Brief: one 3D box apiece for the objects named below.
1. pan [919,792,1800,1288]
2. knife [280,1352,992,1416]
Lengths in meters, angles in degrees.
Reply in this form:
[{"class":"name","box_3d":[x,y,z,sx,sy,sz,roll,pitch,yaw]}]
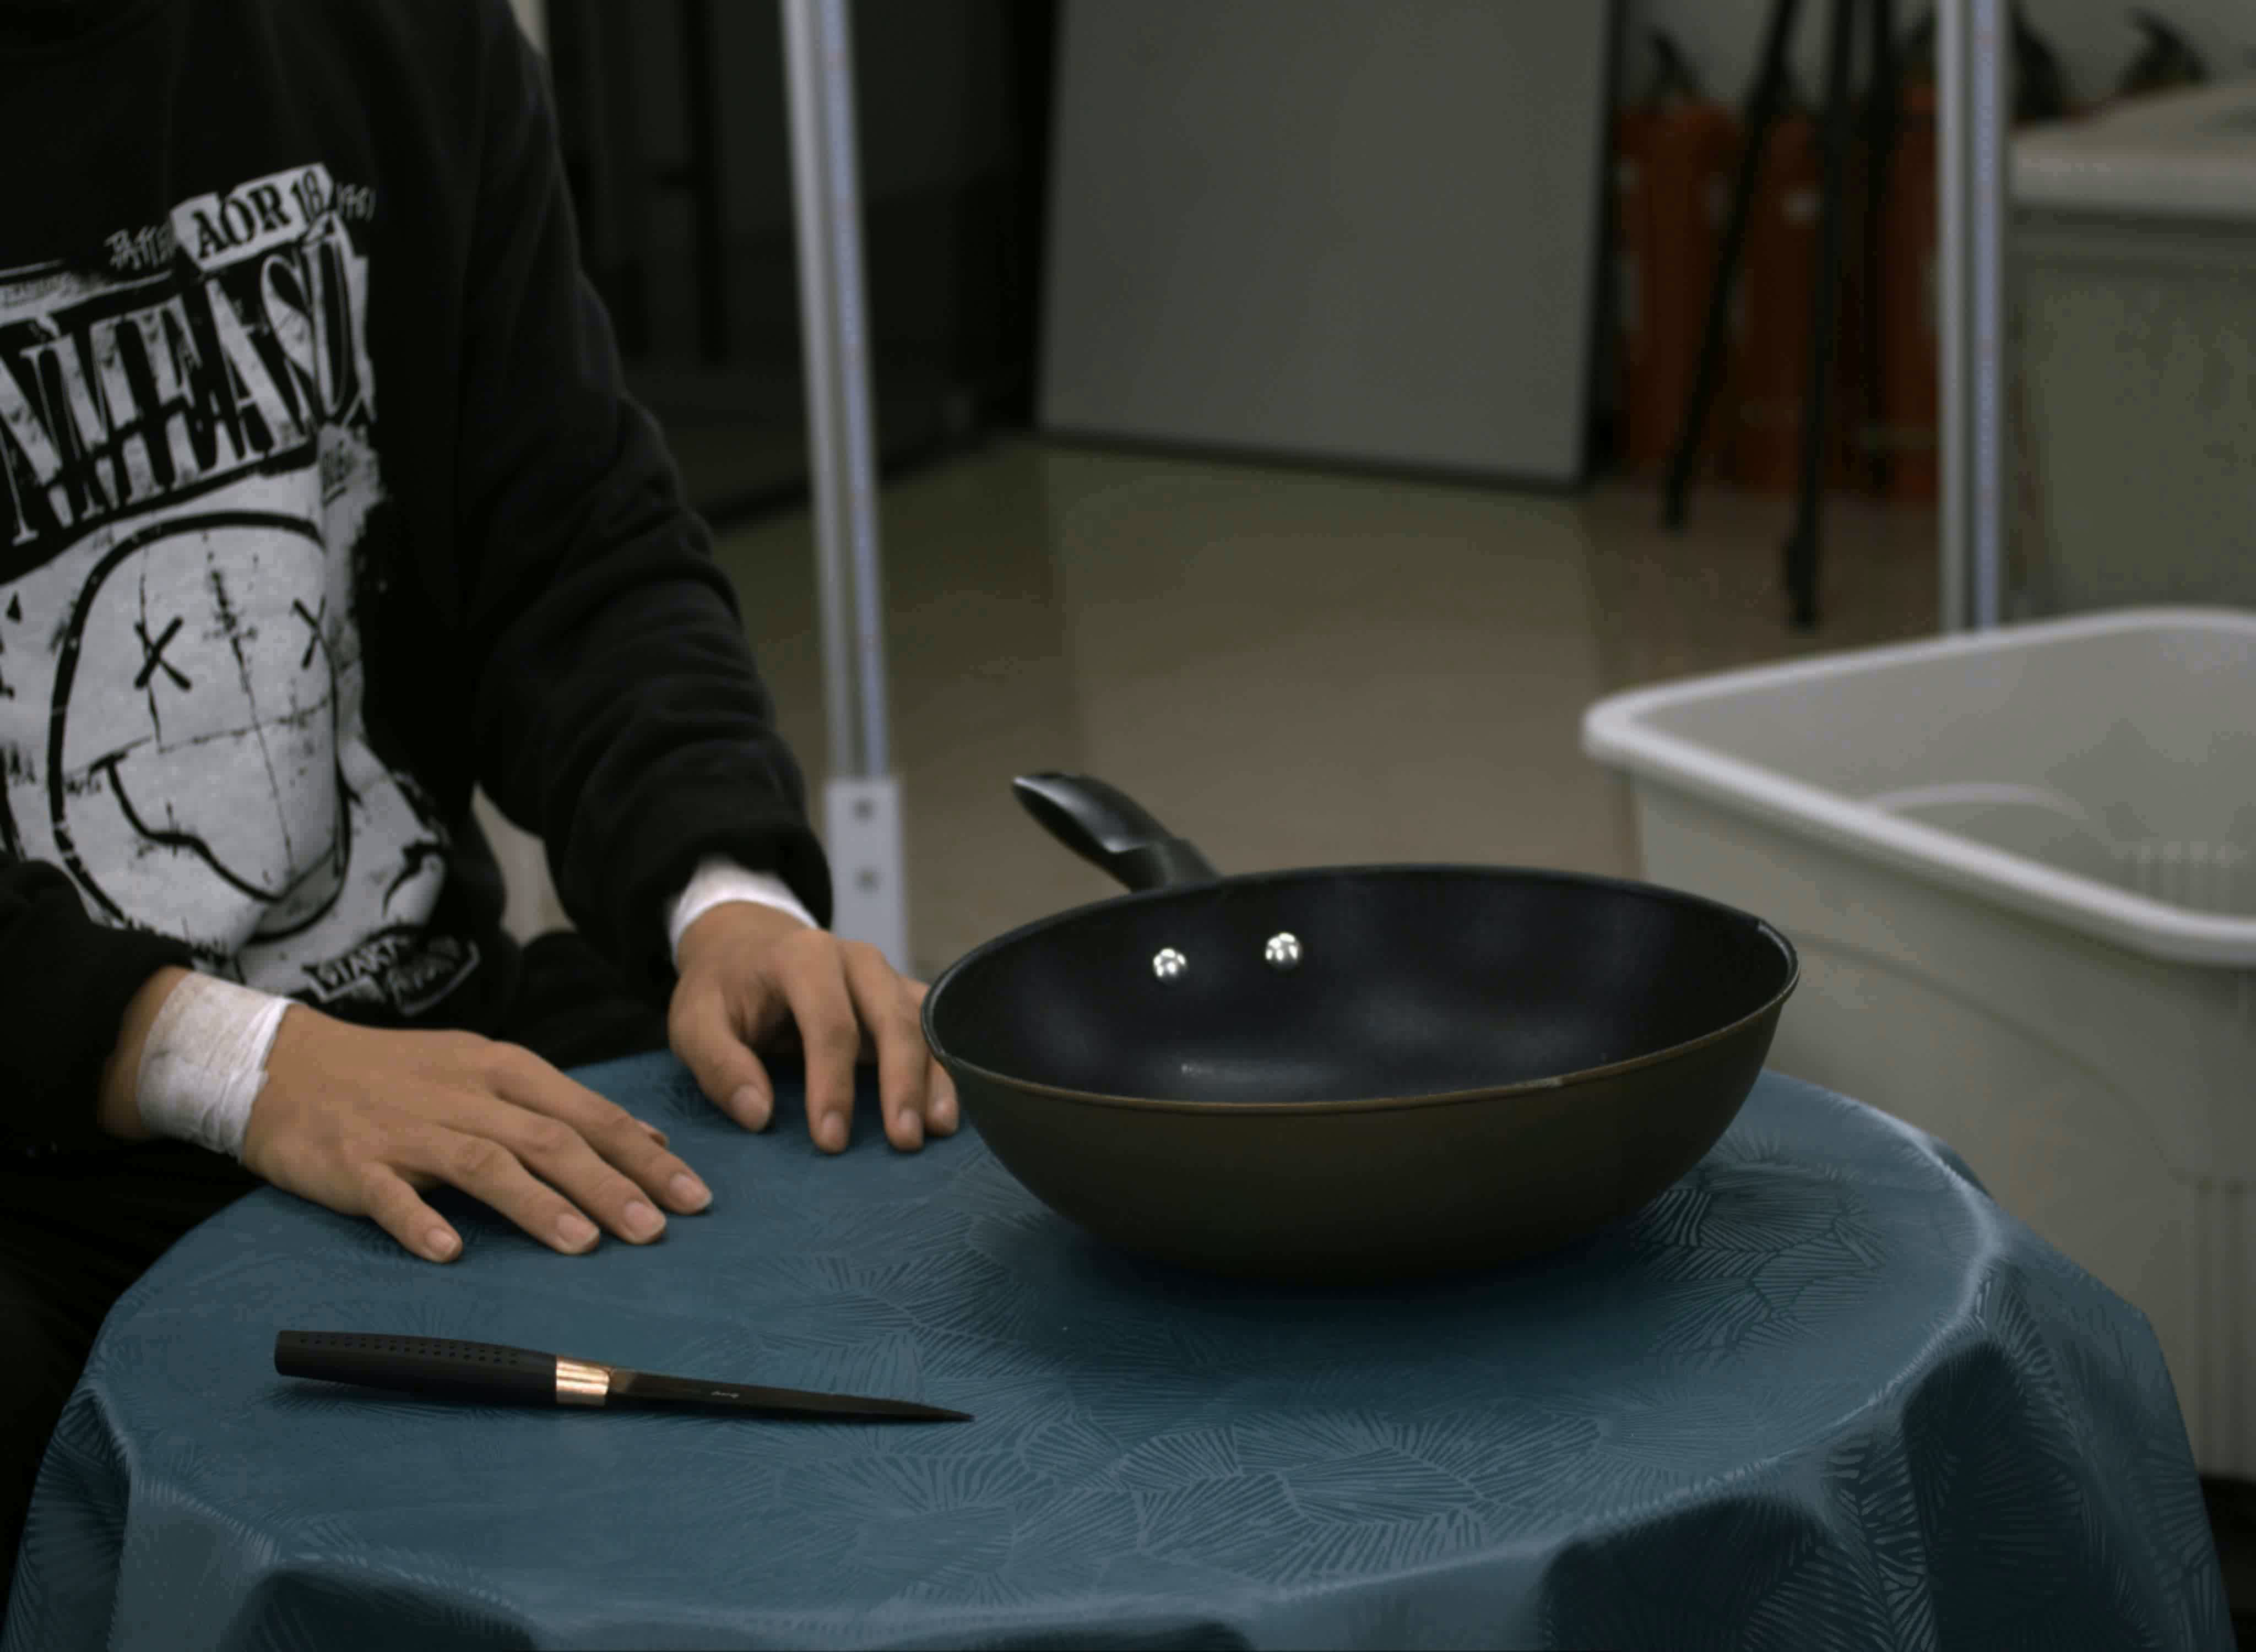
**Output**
[{"class":"pan","box_3d":[0.047,0.068,1.807,0.282,0.088,0.467,-8,13,-17]},{"class":"knife","box_3d":[-0.148,0.169,1.611,0.225,0.017,0.026,1,1,19]}]
